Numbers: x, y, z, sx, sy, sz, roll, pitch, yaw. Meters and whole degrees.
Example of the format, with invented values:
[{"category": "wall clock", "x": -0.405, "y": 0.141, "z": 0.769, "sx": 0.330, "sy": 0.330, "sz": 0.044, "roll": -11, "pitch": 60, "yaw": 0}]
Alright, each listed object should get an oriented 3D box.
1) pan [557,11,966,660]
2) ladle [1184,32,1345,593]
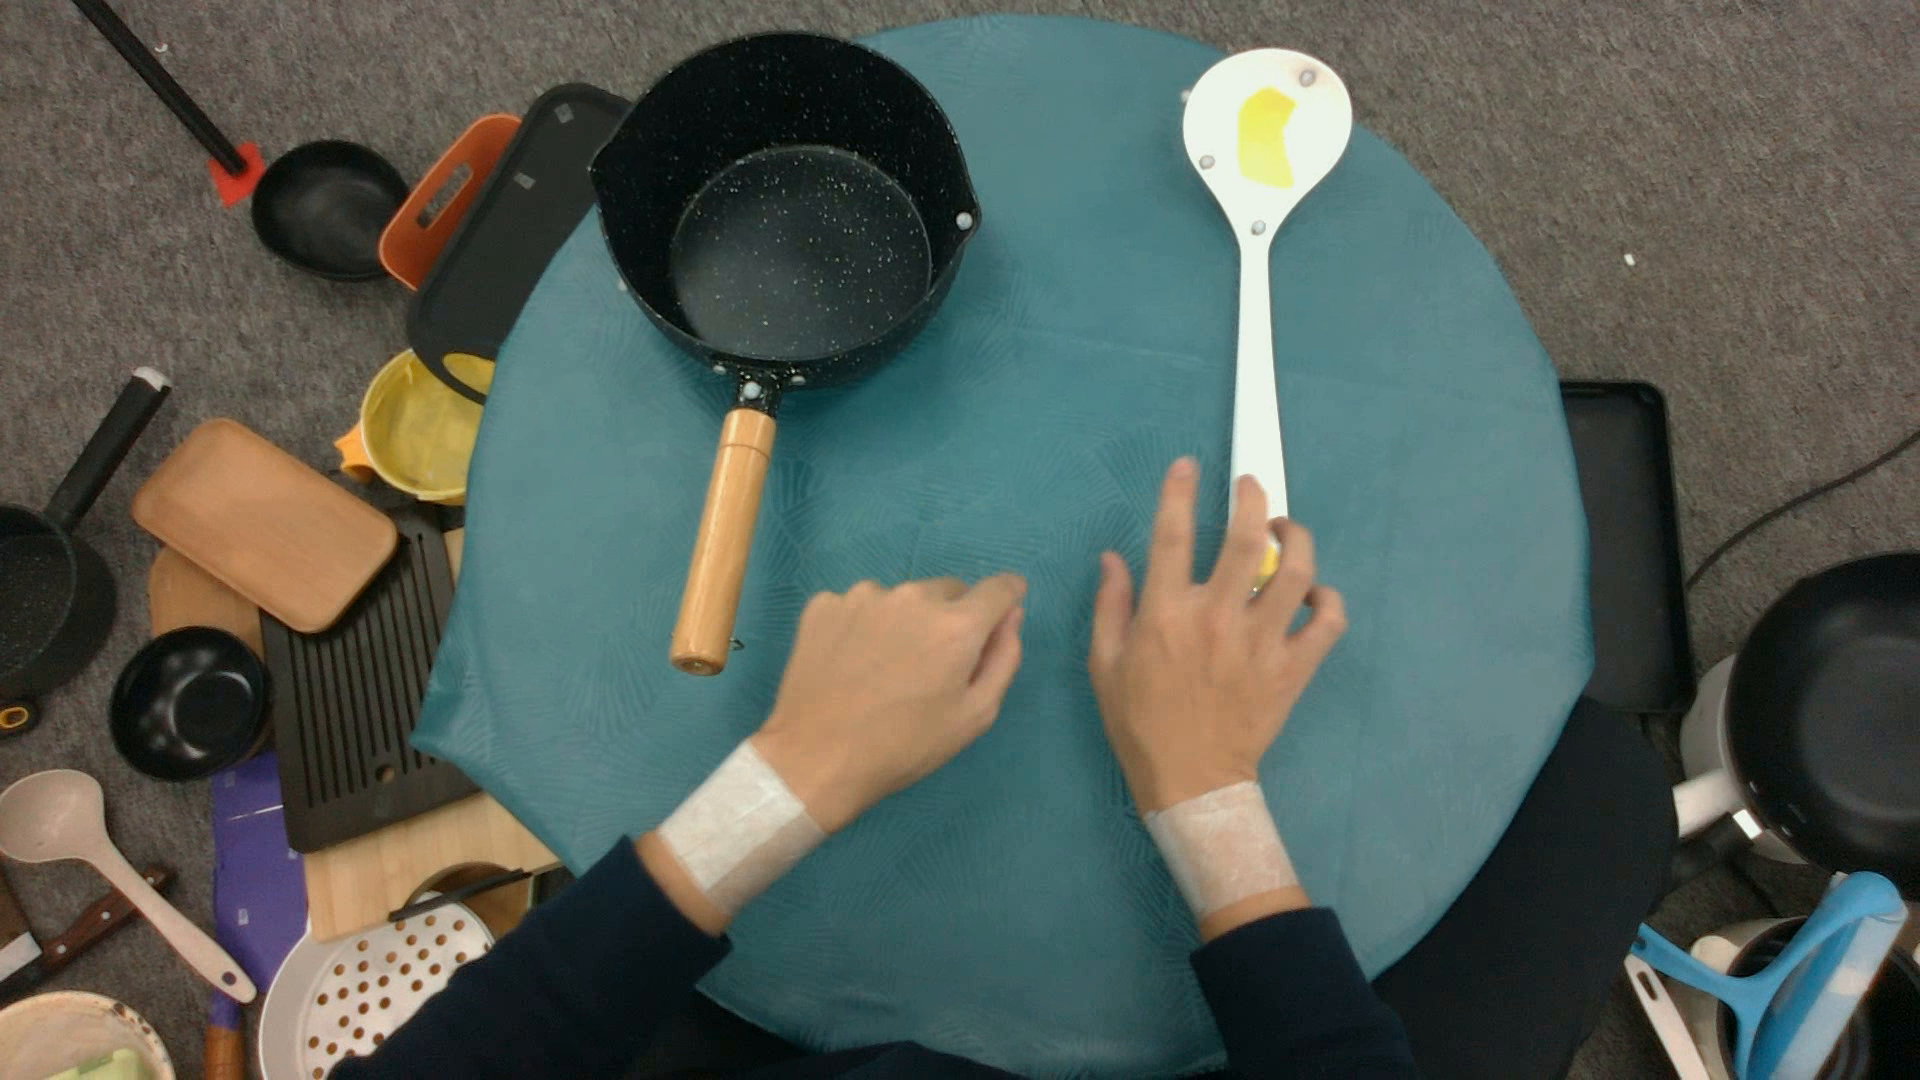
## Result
[{"category": "pan", "x": -0.107, "y": -0.100, "z": 0.698, "sx": 0.207, "sy": 0.108, "sz": 0.343, "roll": 6, "pitch": 74, "yaw": -1}, {"category": "ladle", "x": 0.157, "y": -0.122, "z": 0.734, "sx": 0.090, "sy": 0.070, "sz": 0.293, "roll": 6, "pitch": 76, "yaw": -6}]
